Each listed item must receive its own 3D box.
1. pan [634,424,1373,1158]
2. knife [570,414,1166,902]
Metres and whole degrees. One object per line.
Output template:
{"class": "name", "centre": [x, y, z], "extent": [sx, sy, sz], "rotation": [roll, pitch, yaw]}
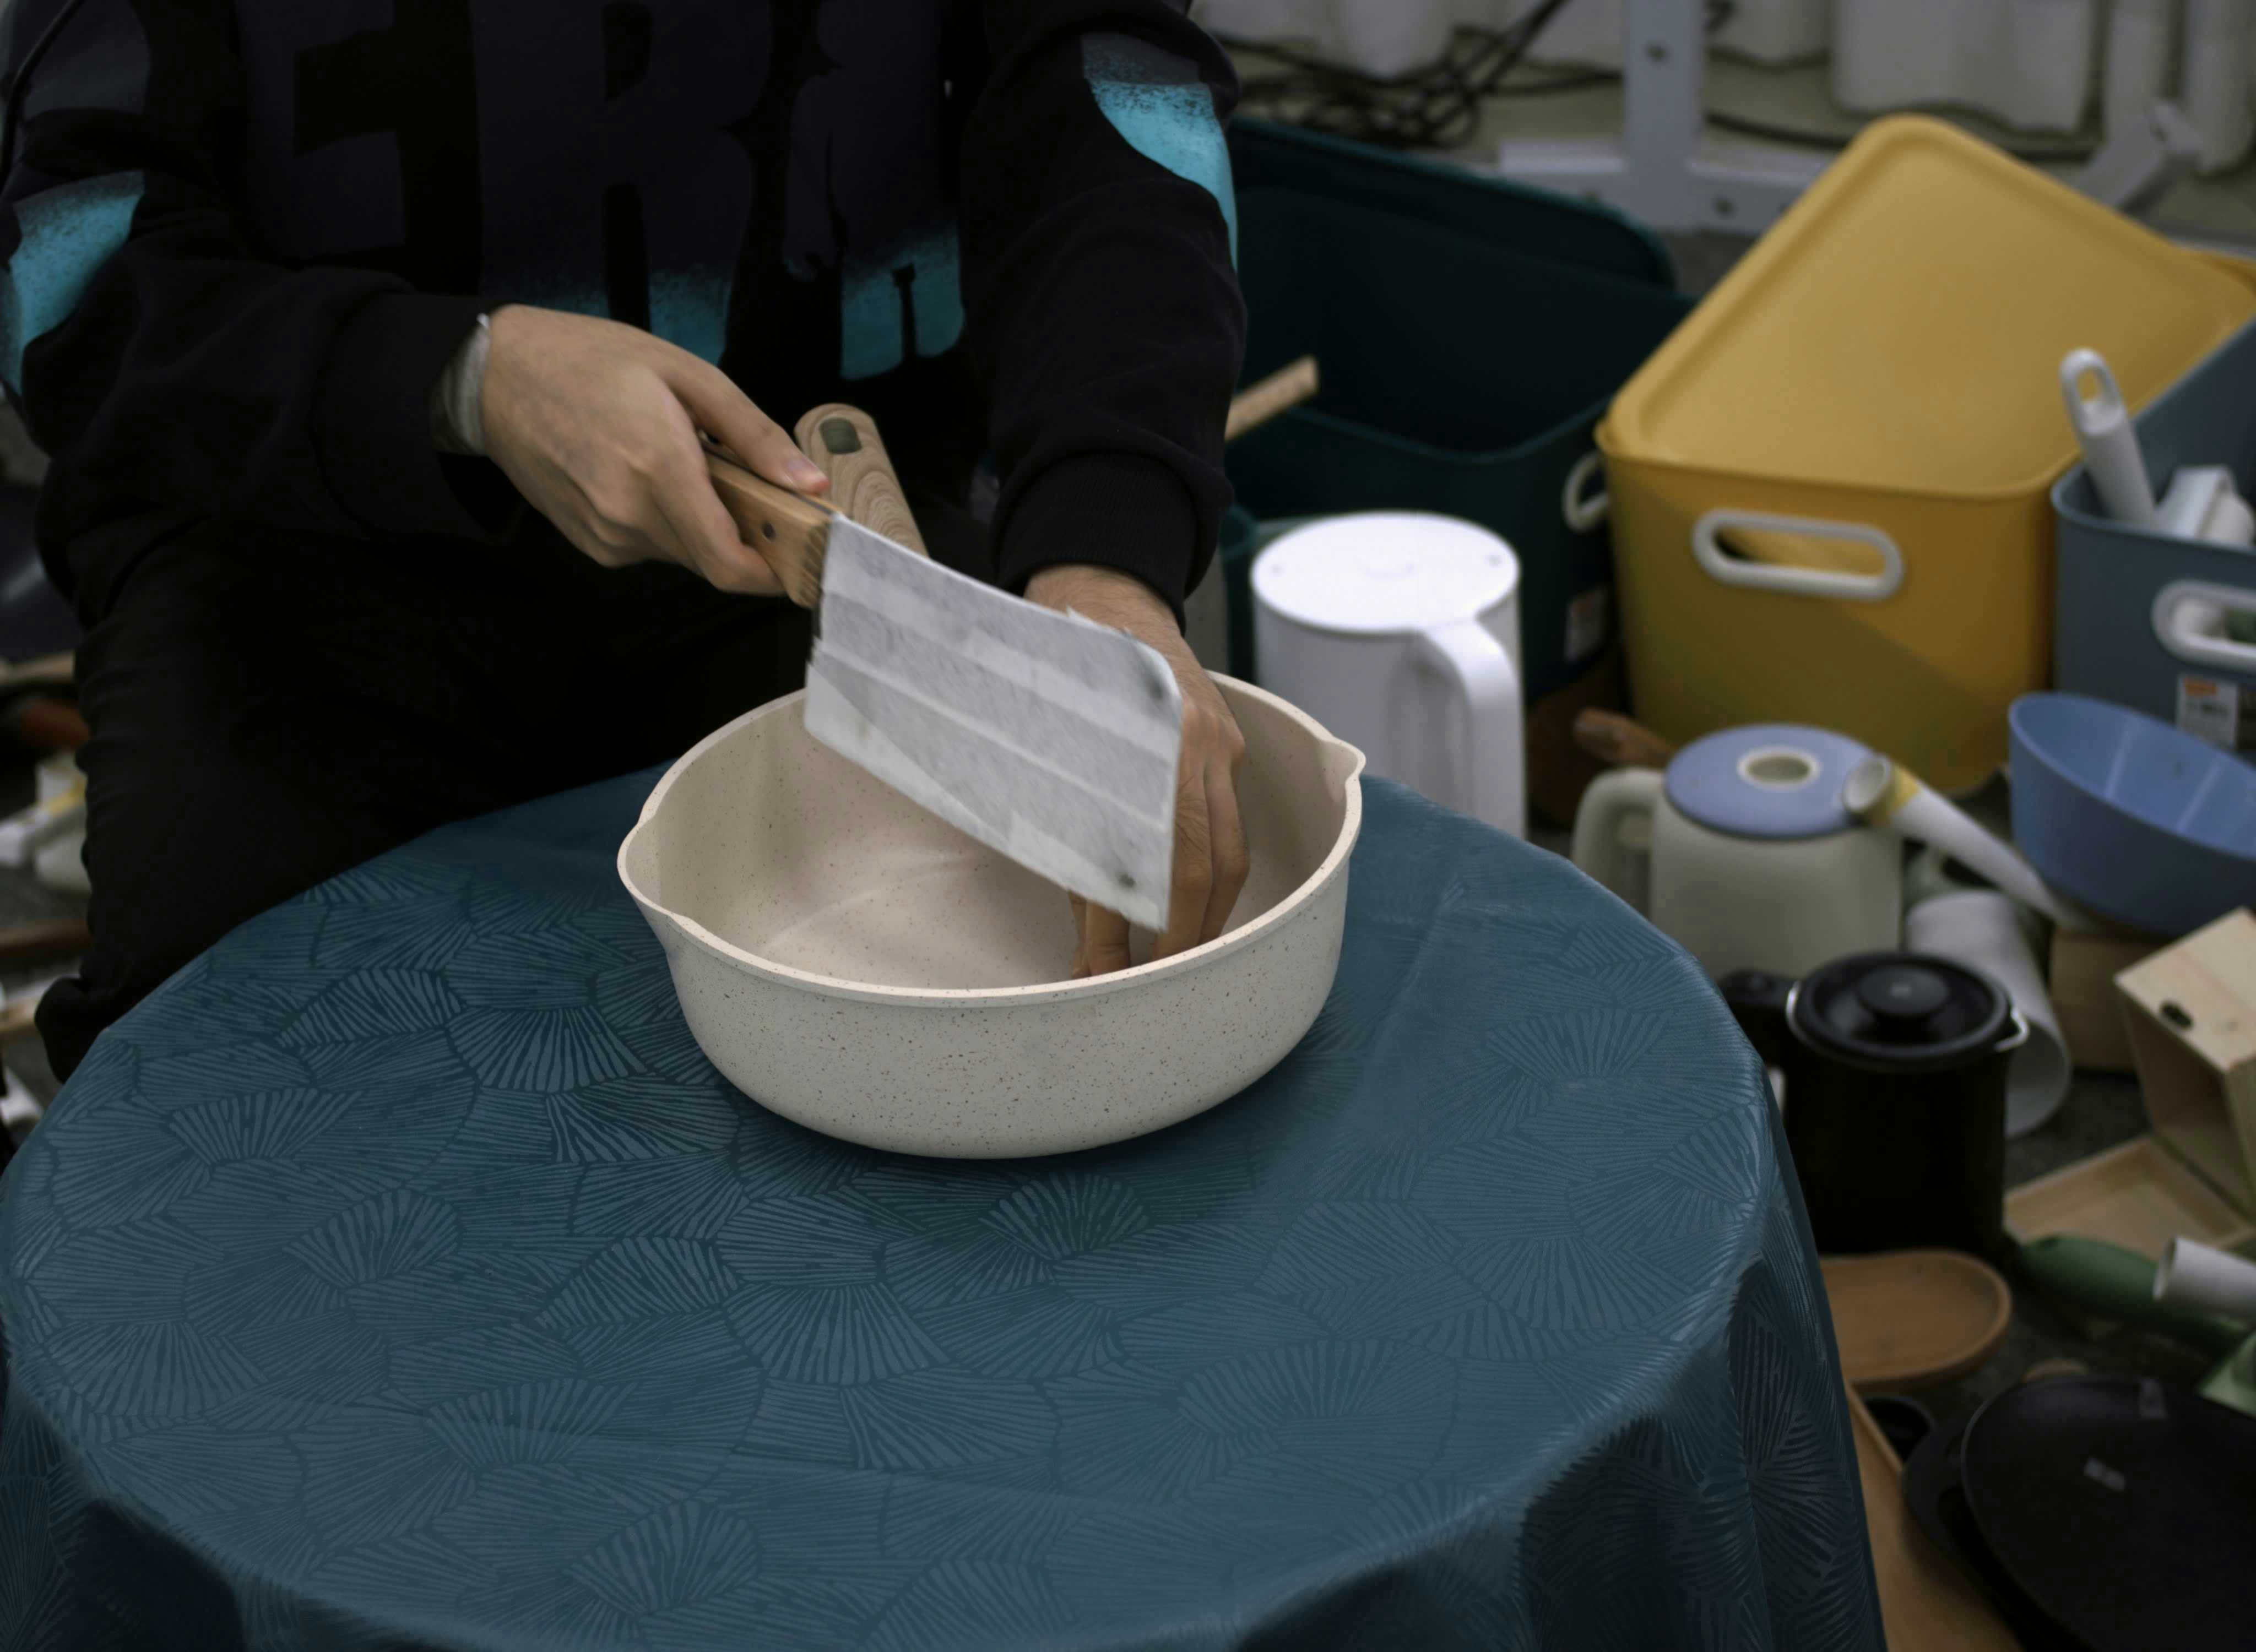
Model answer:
{"class": "pan", "centre": [-0.061, -0.017, 2.029], "extent": [0.263, 0.101, 0.439], "rotation": [-11, 29, -11]}
{"class": "knife", "centre": [-0.091, -0.073, 1.957], "extent": [0.022, 0.112, 0.316], "rotation": [-15, 35, -42]}
